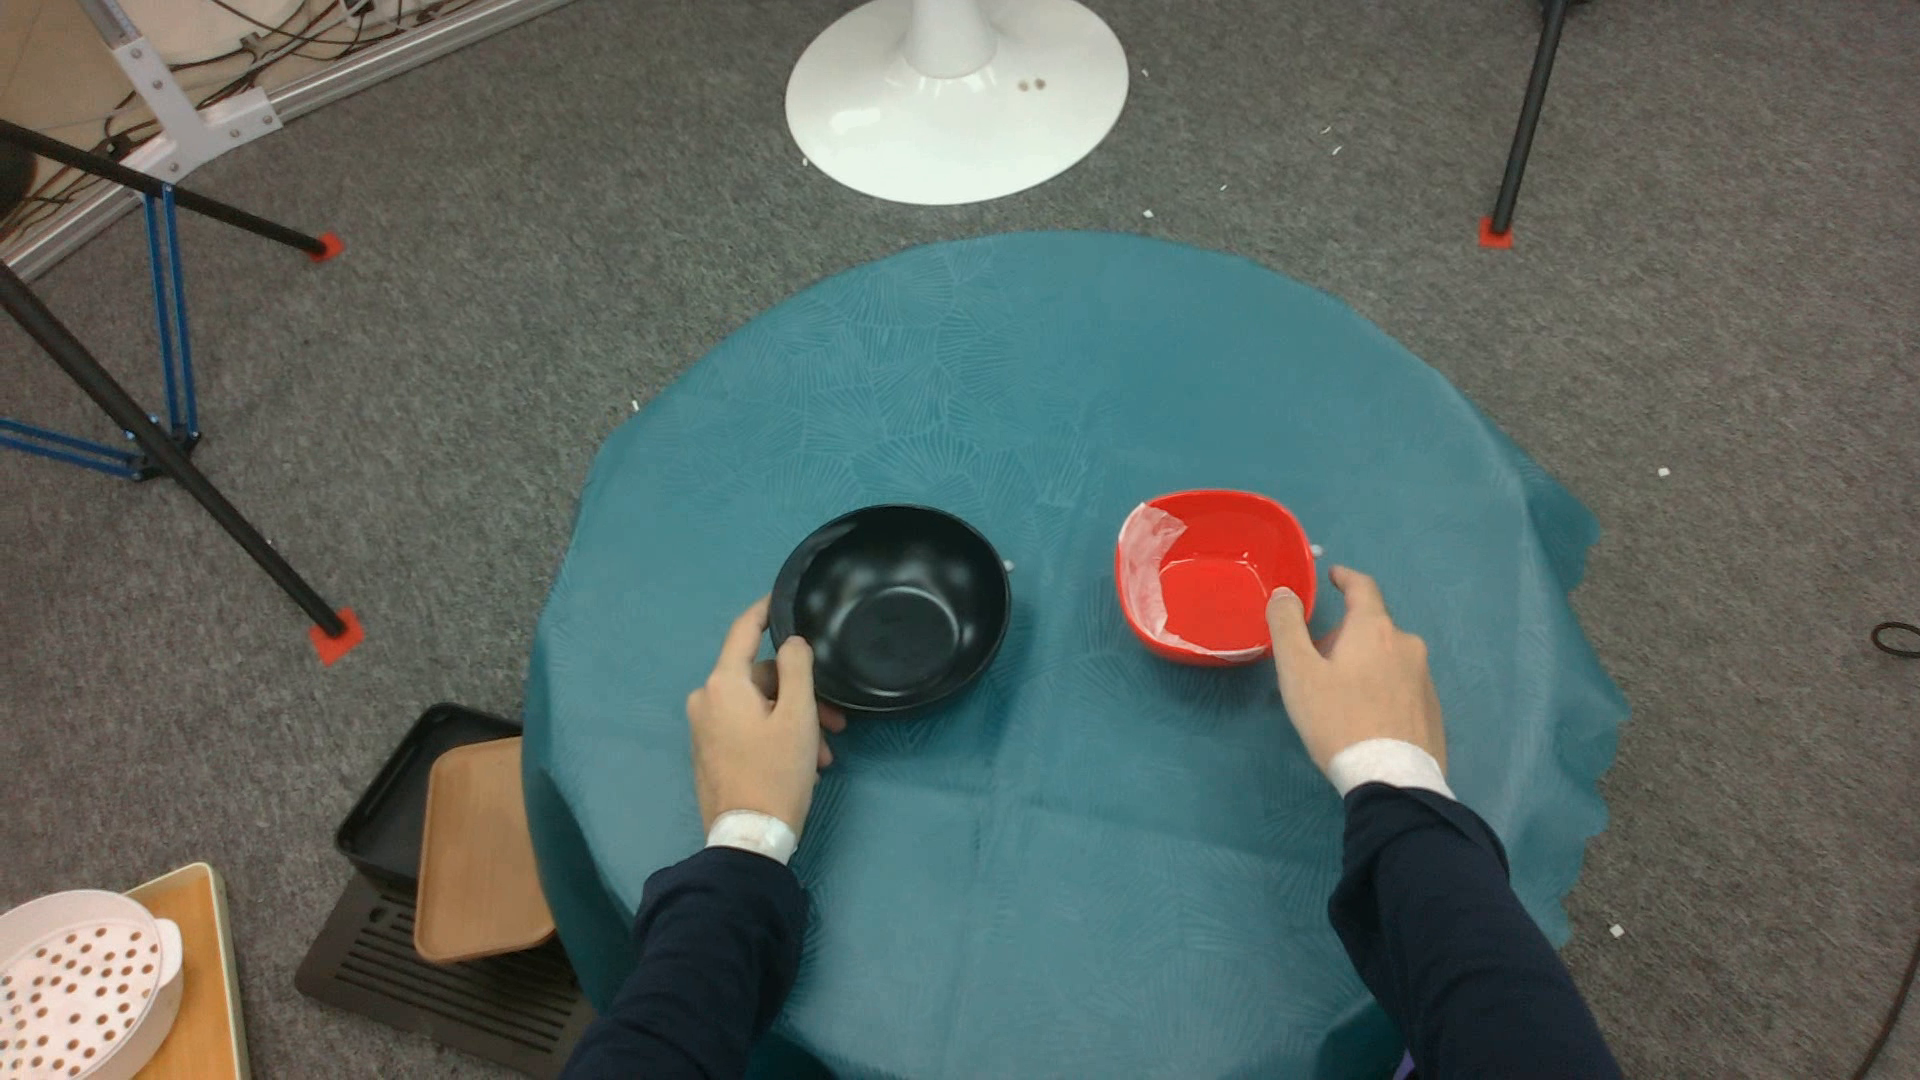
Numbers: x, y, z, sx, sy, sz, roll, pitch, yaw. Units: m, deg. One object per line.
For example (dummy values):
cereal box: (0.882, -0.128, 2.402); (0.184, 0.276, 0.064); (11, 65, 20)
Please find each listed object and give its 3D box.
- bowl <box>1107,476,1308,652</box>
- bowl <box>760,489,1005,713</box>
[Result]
bowl: (0.139, 0.022, 0.784); (0.119, 0.051, 0.119); (-2, 54, 3)
bowl: (-0.042, 0.041, 0.793); (0.140, 0.049, 0.140); (-2, 59, 4)
